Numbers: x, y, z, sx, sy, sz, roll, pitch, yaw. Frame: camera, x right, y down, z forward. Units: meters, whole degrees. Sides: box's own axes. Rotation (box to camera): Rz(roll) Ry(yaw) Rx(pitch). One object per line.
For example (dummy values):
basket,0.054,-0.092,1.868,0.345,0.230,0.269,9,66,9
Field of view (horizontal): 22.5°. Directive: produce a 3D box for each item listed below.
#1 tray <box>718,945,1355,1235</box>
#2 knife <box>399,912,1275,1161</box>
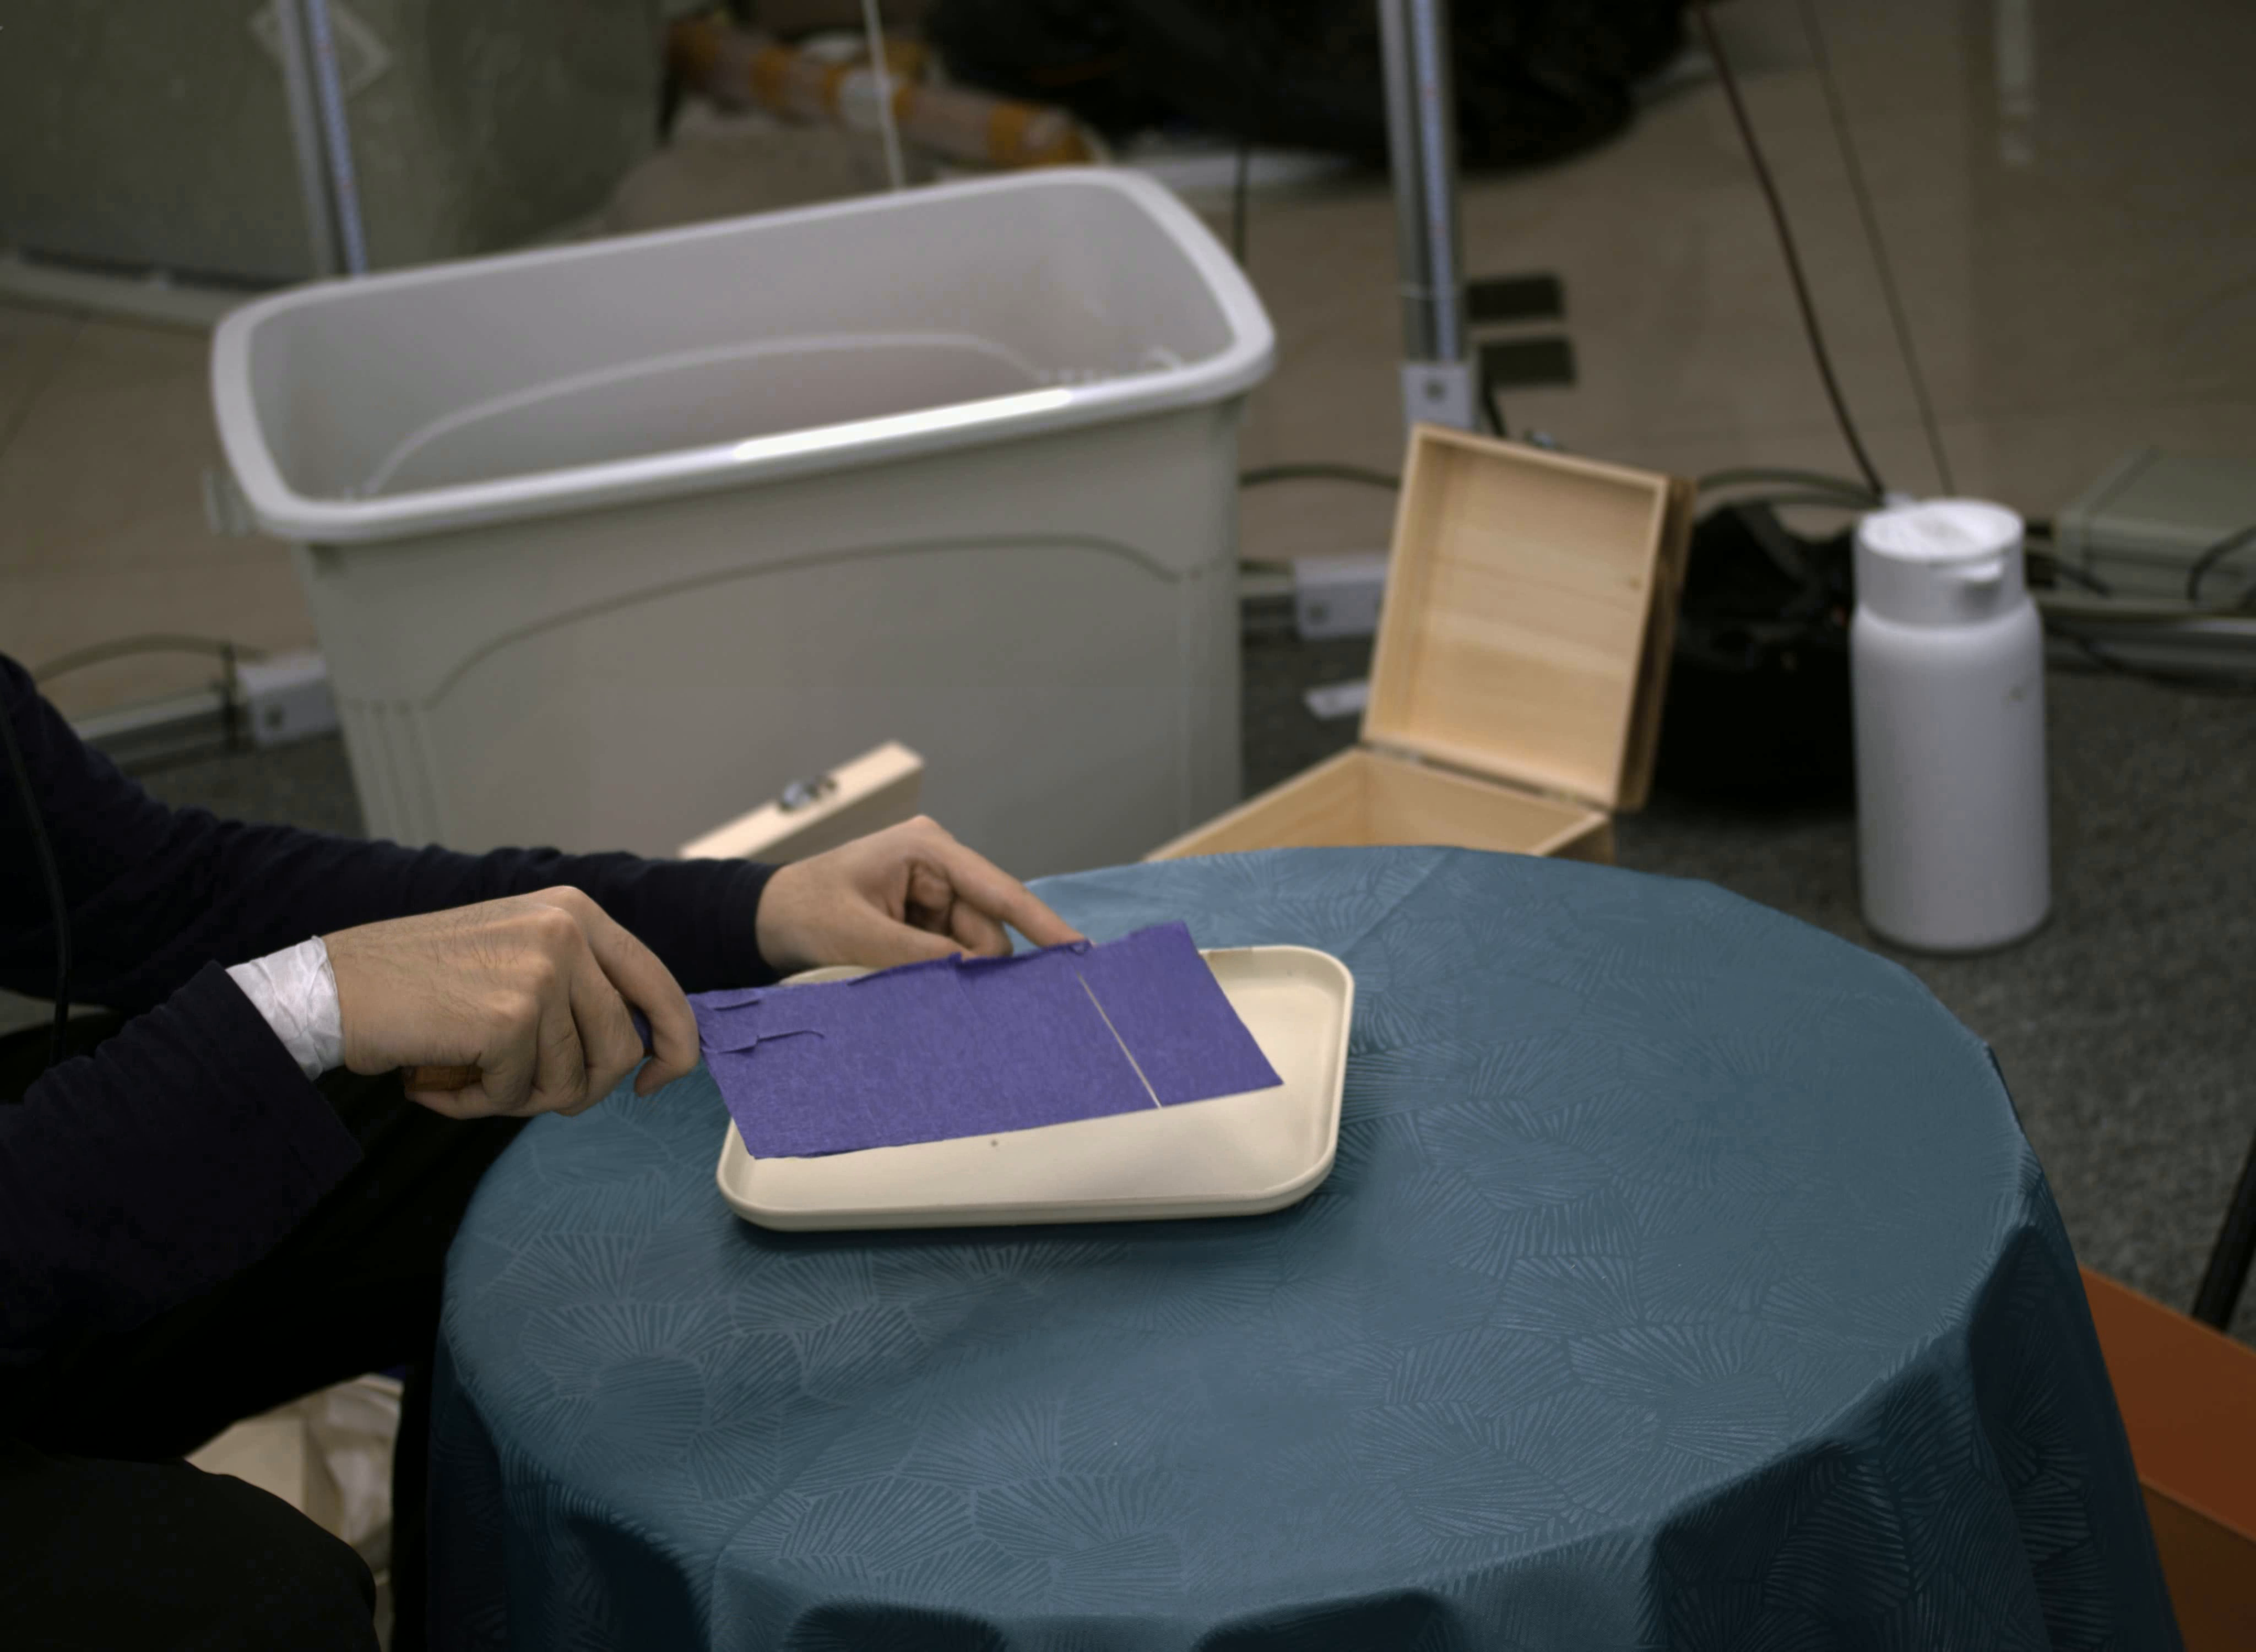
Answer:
tray,-0.033,0.103,2.195,0.239,0.018,0.168,-2,33,9
knife,-0.100,0.081,2.044,0.314,0.033,0.102,-9,41,-21
